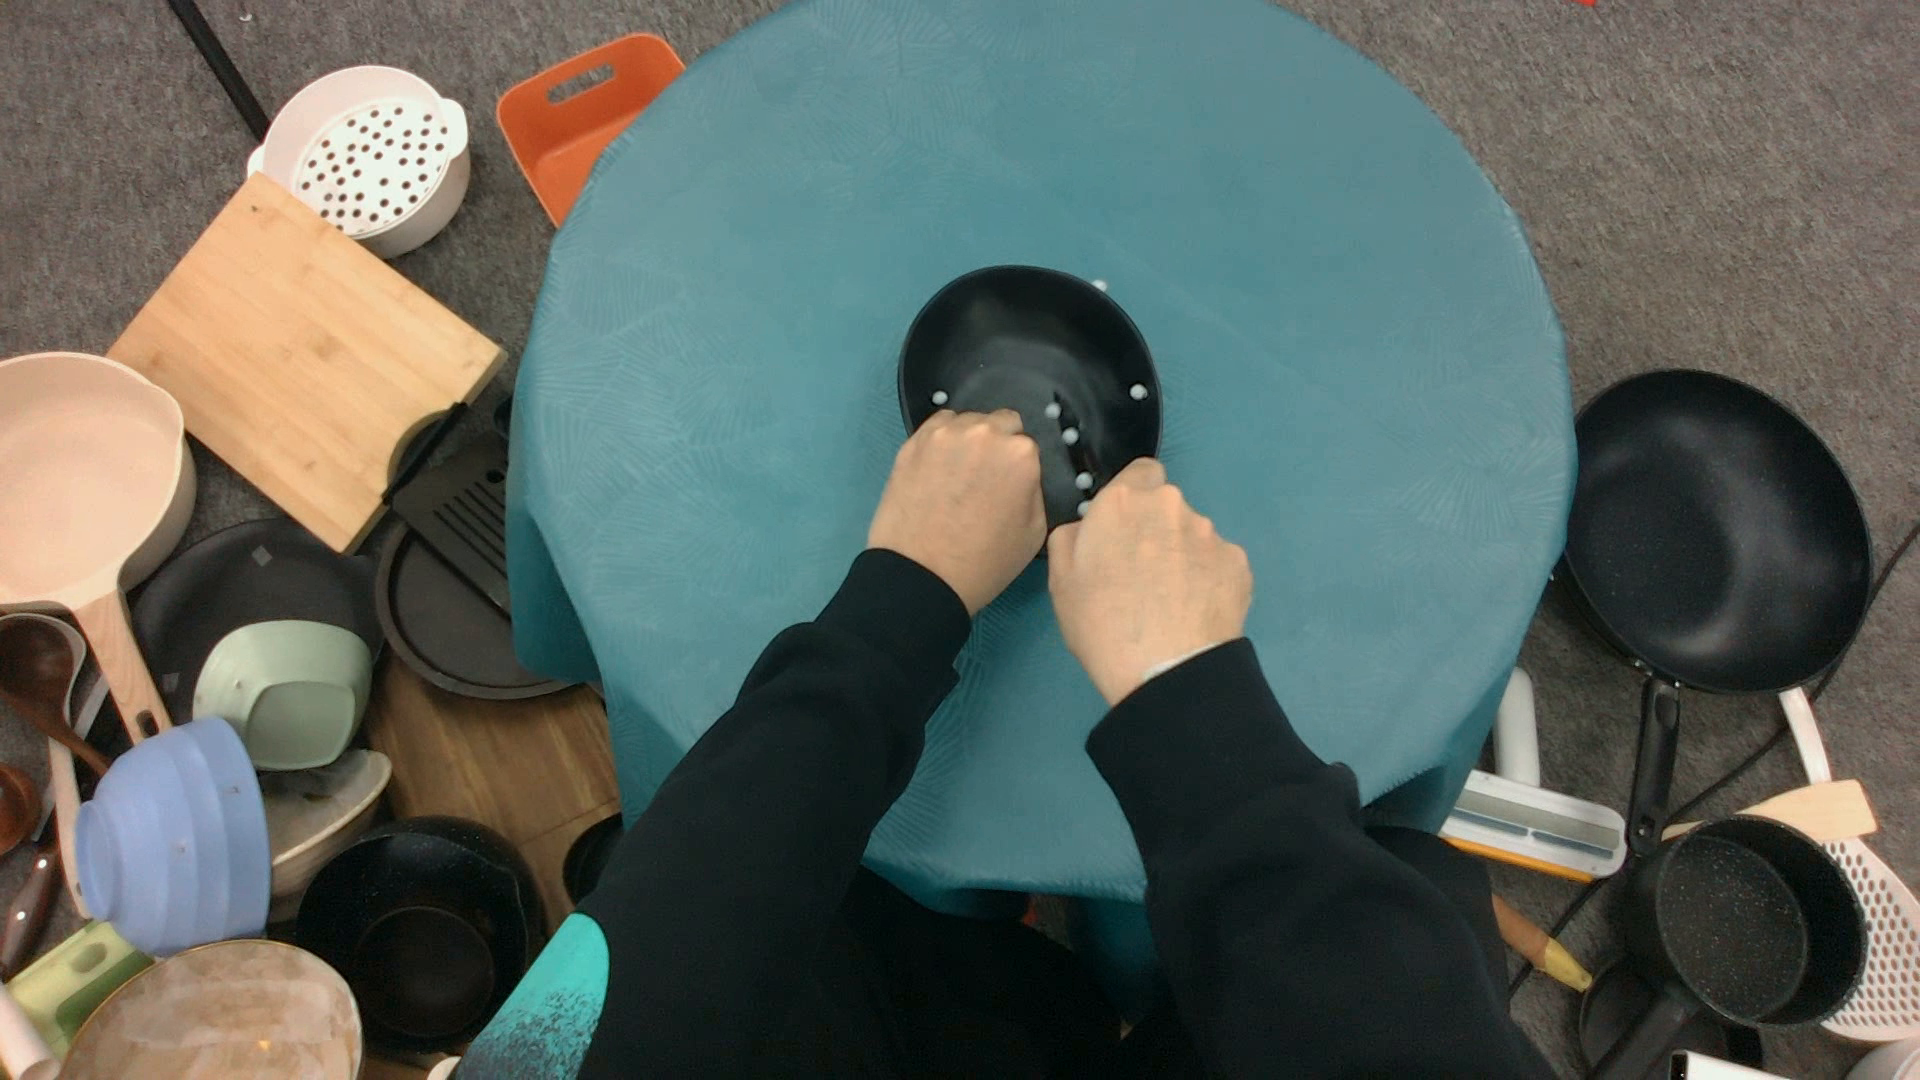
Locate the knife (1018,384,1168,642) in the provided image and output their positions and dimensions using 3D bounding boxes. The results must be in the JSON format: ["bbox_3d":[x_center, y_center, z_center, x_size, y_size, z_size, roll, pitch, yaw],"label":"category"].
[{"bbox_3d":[0.058,-0.025,0.665,0.017,0.026,0.226,9,32,-20],"label":"knife"}]

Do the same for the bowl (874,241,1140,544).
[{"bbox_3d":[0.025,-0.075,0.741,0.137,0.066,0.170,-14,73,-8],"label":"bowl"}]
